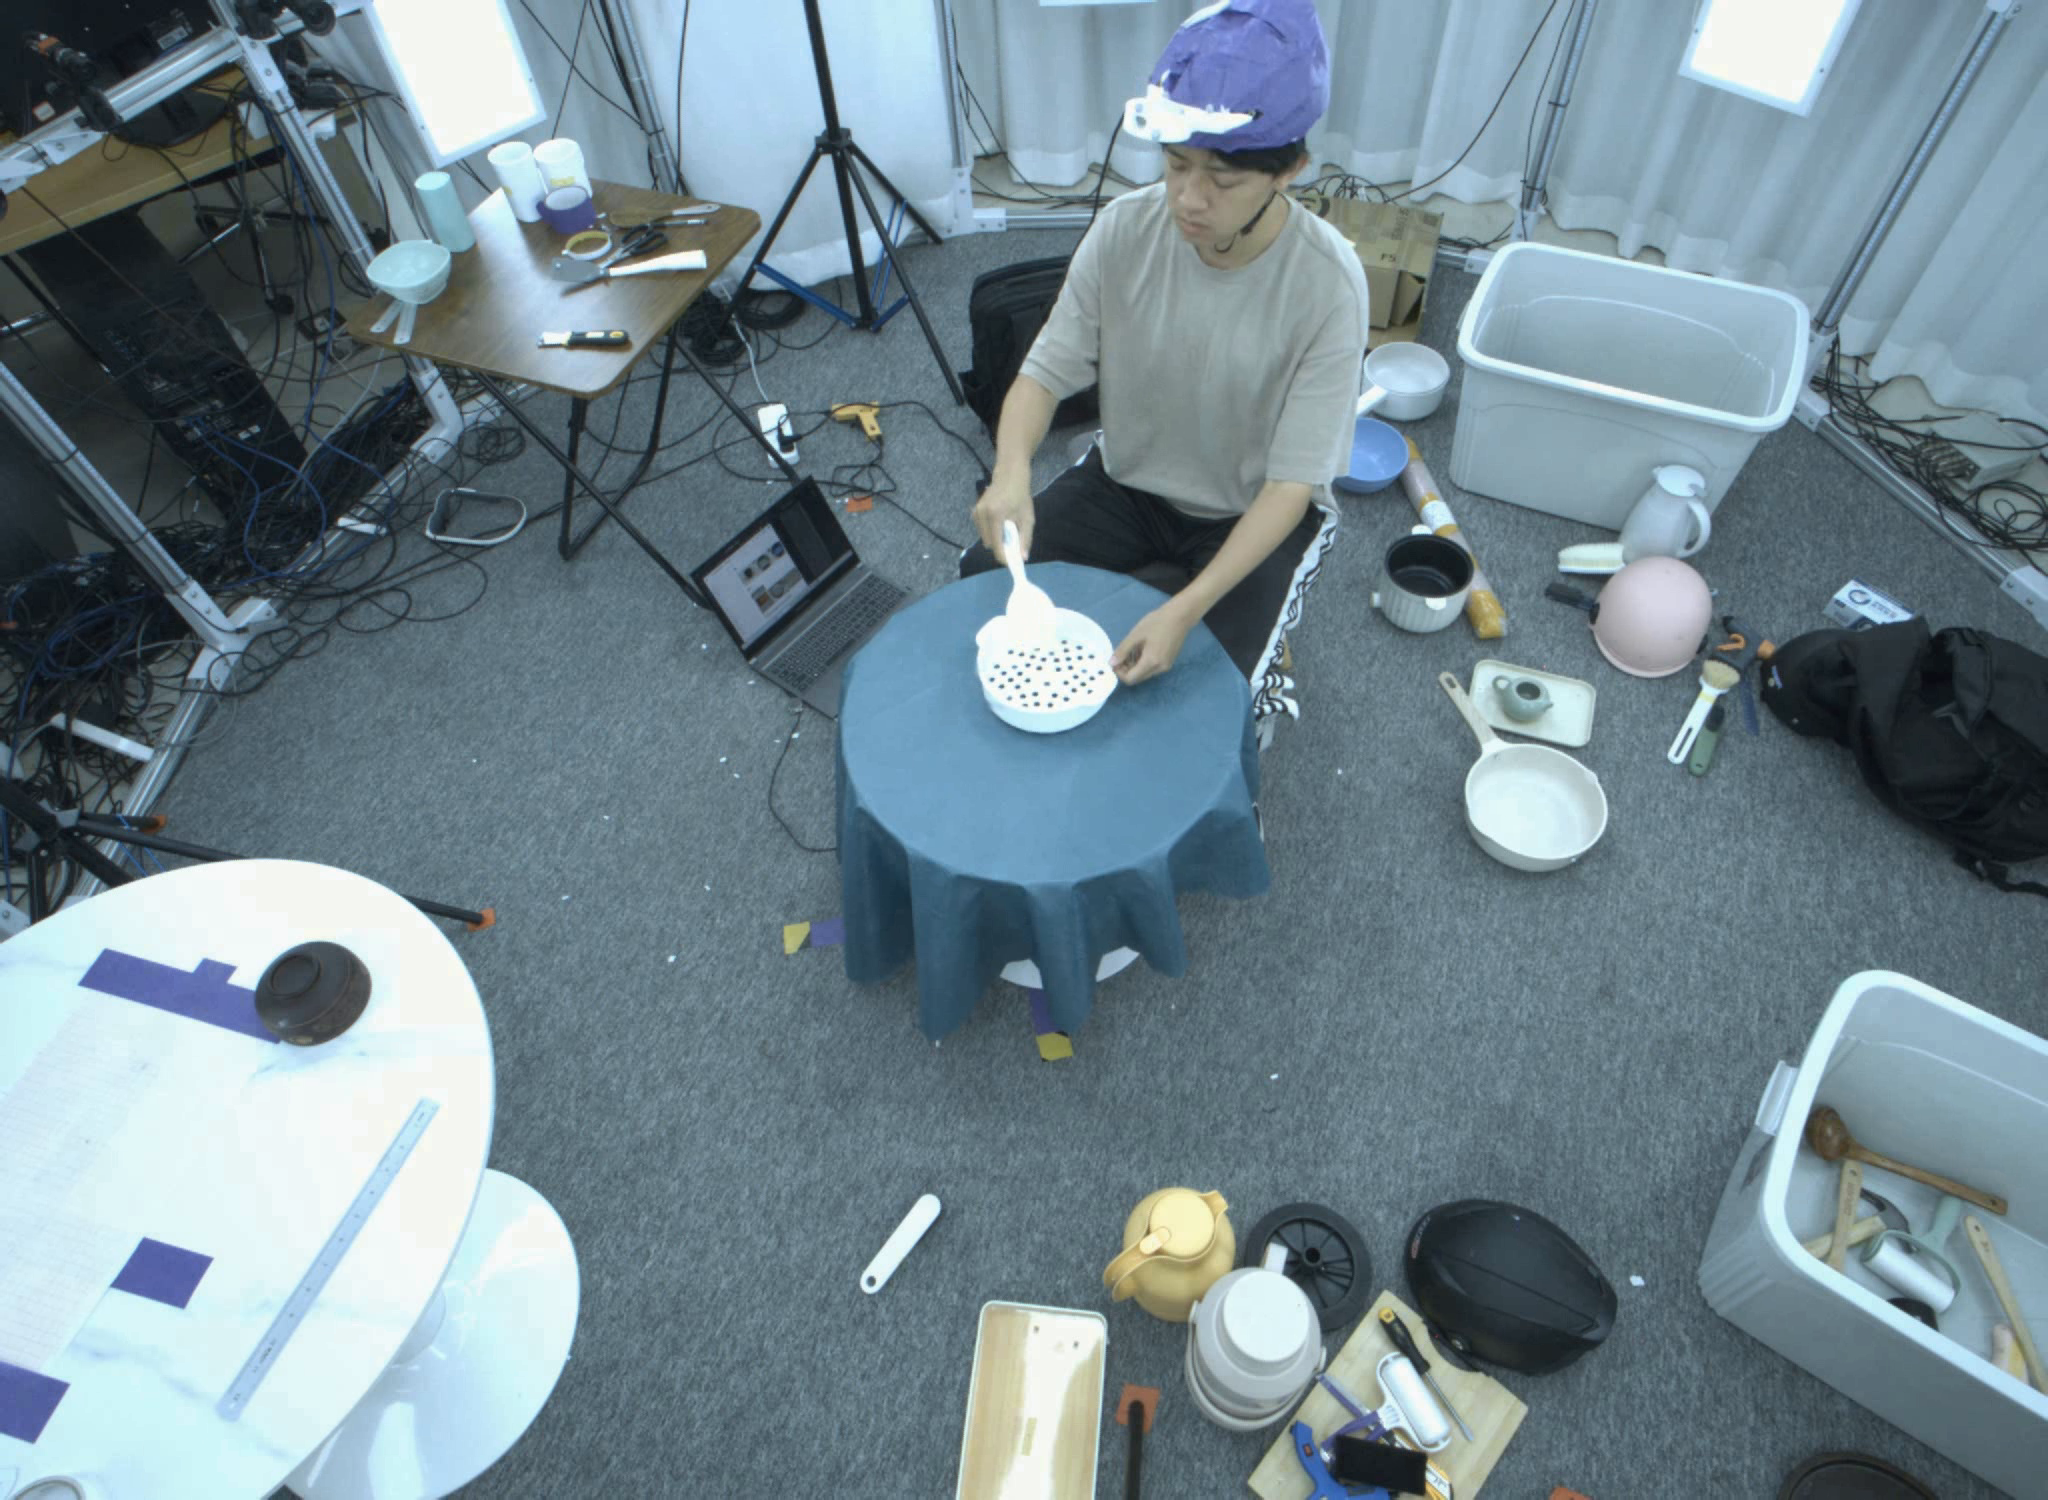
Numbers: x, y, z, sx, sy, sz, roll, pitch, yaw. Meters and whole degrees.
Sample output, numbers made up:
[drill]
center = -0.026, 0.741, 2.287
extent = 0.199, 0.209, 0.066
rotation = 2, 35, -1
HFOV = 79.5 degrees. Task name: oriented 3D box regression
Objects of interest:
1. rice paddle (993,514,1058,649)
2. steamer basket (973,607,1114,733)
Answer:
[rice paddle]
center = -0.003, -0.235, 1.718
extent = 0.068, 0.030, 0.203
rotation = -18, 74, 7
[steamer basket]
center = 0.028, -0.118, 1.828
extent = 0.227, 0.070, 0.203
rotation = 32, 62, 20
